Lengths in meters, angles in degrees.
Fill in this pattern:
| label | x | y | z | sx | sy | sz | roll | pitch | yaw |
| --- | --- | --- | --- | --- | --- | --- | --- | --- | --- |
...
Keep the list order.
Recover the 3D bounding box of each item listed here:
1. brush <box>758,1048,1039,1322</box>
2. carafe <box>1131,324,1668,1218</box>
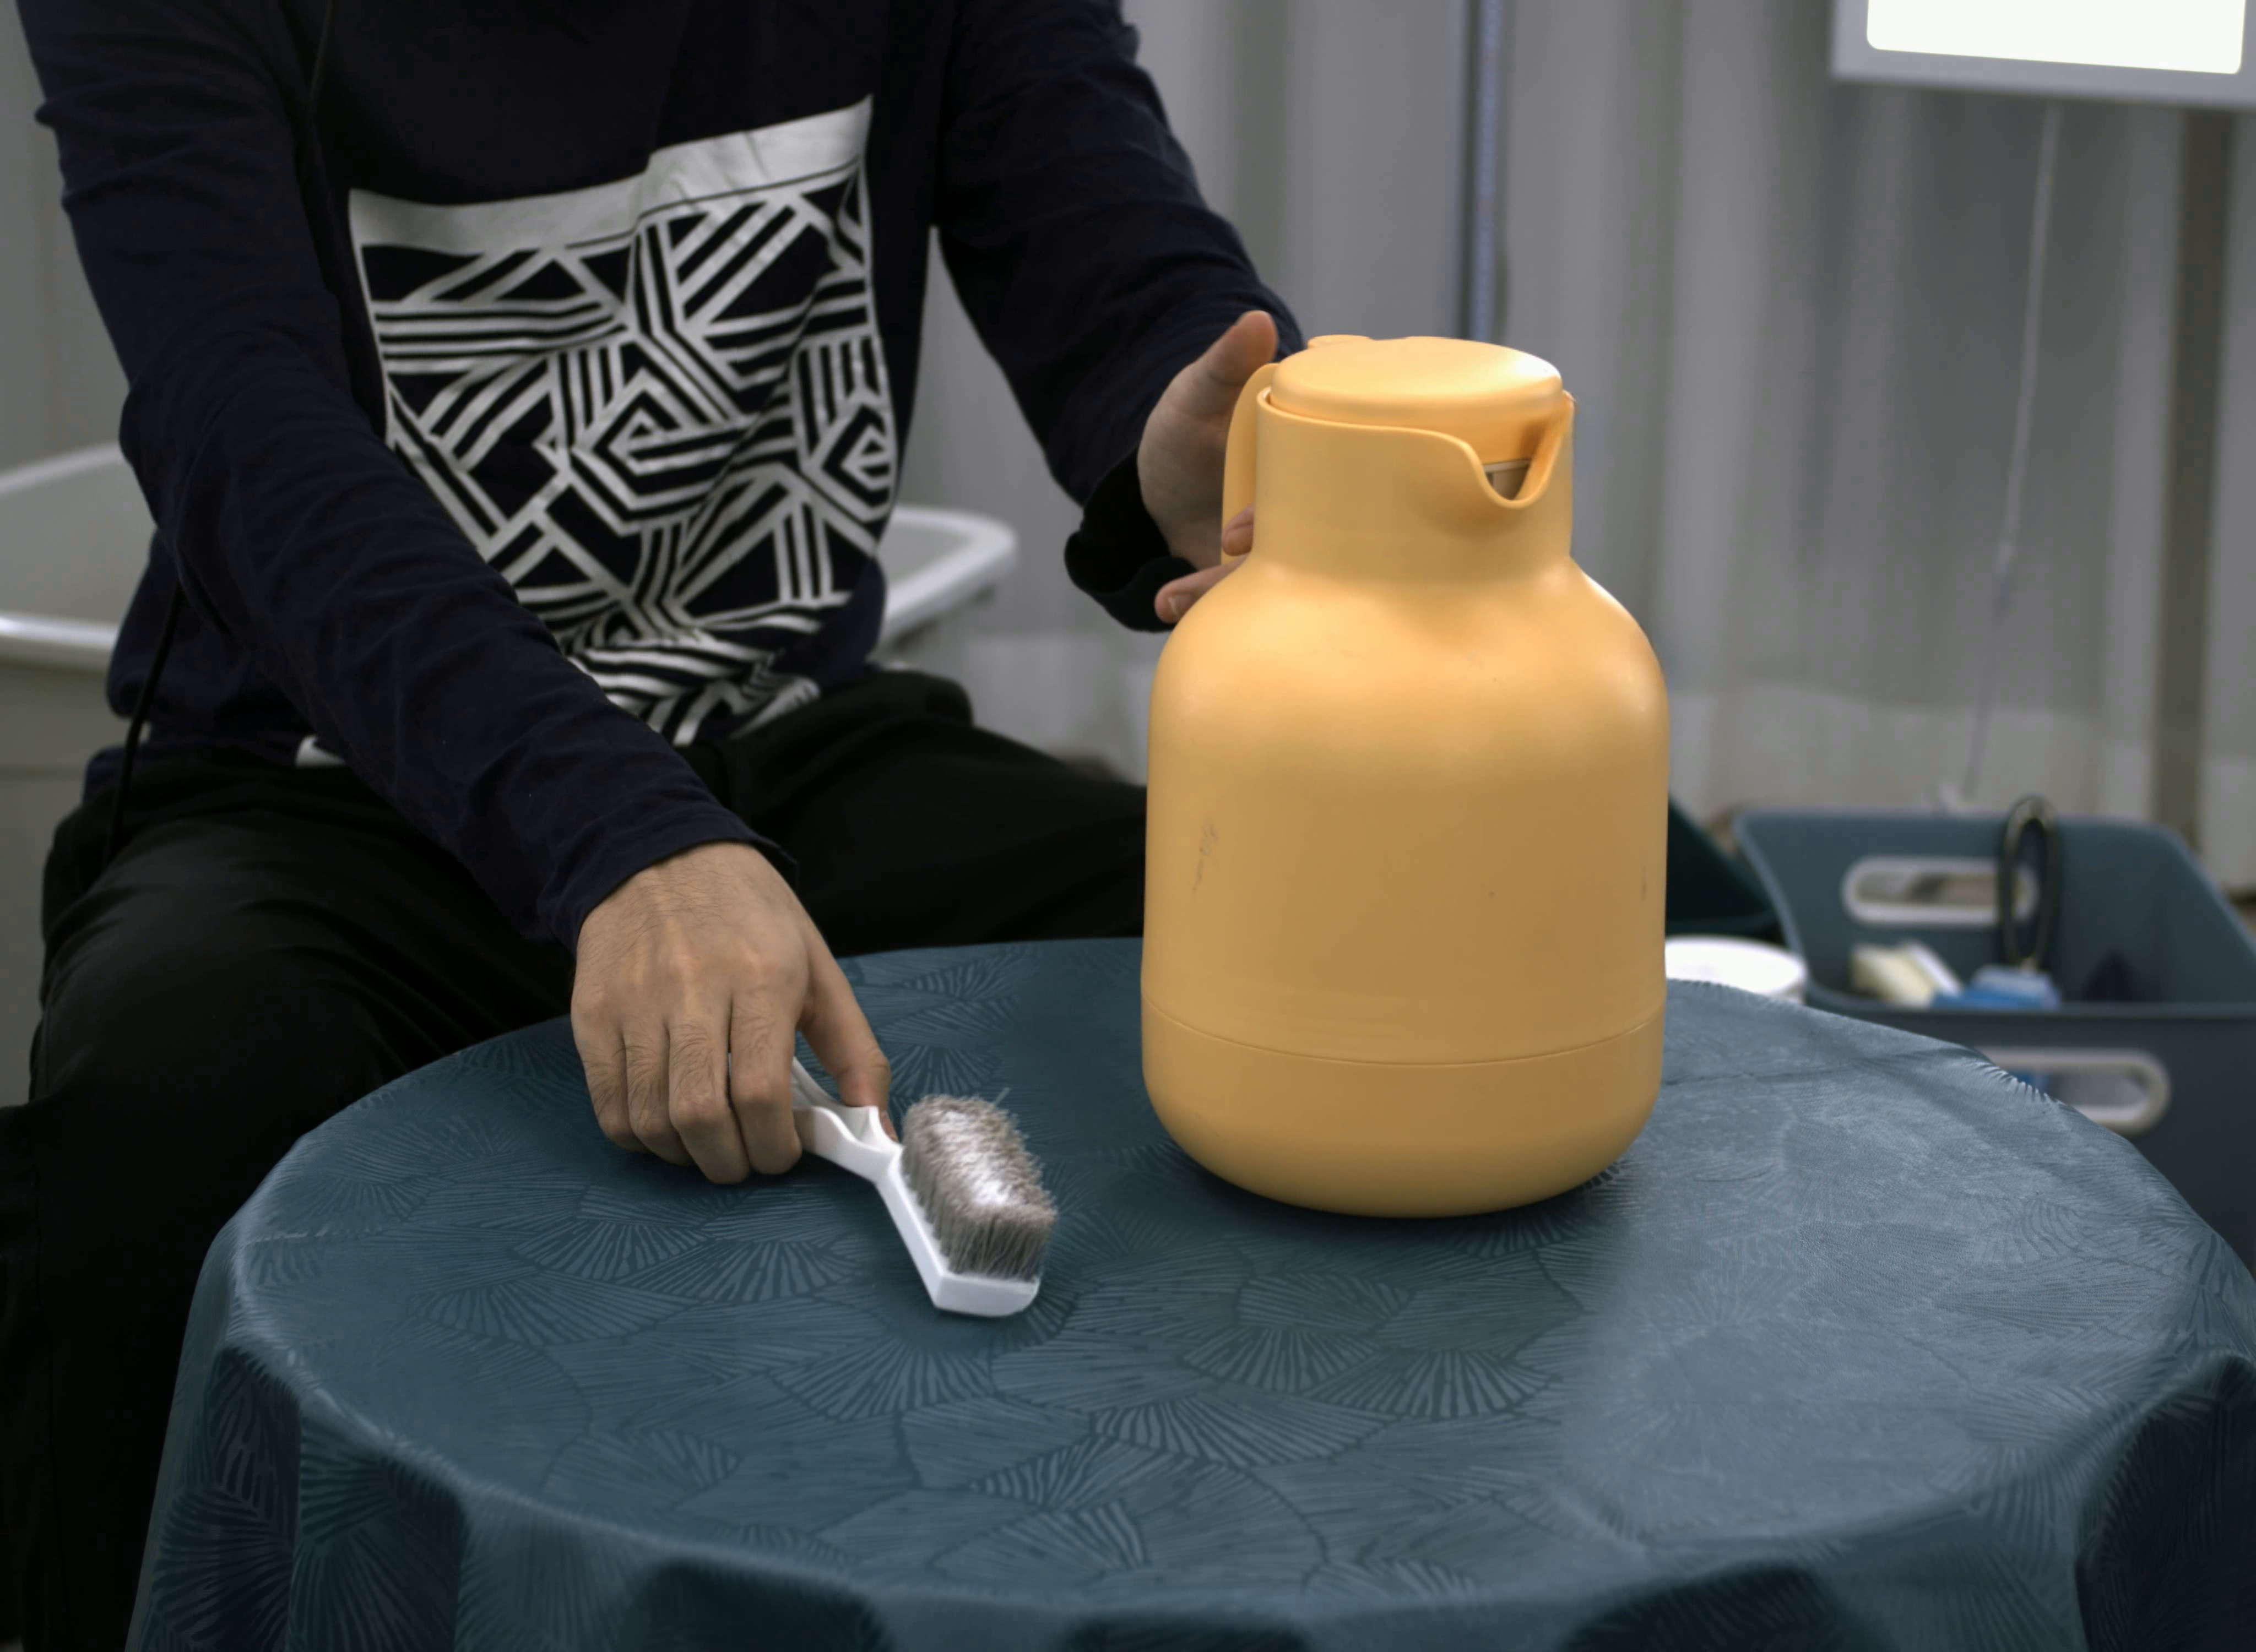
| label | x | y | z | sx | sy | sz | roll | pitch | yaw |
| --- | --- | --- | --- | --- | --- | --- | --- | --- | --- |
| brush | -0.075 | 0.090 | 1.610 | 0.034 | 0.050 | 0.241 | -6 | 18 | -17 |
| carafe | 0.080 | -0.025 | 1.634 | 0.164 | 0.262 | 0.200 | -3 | 17 | -21 |
